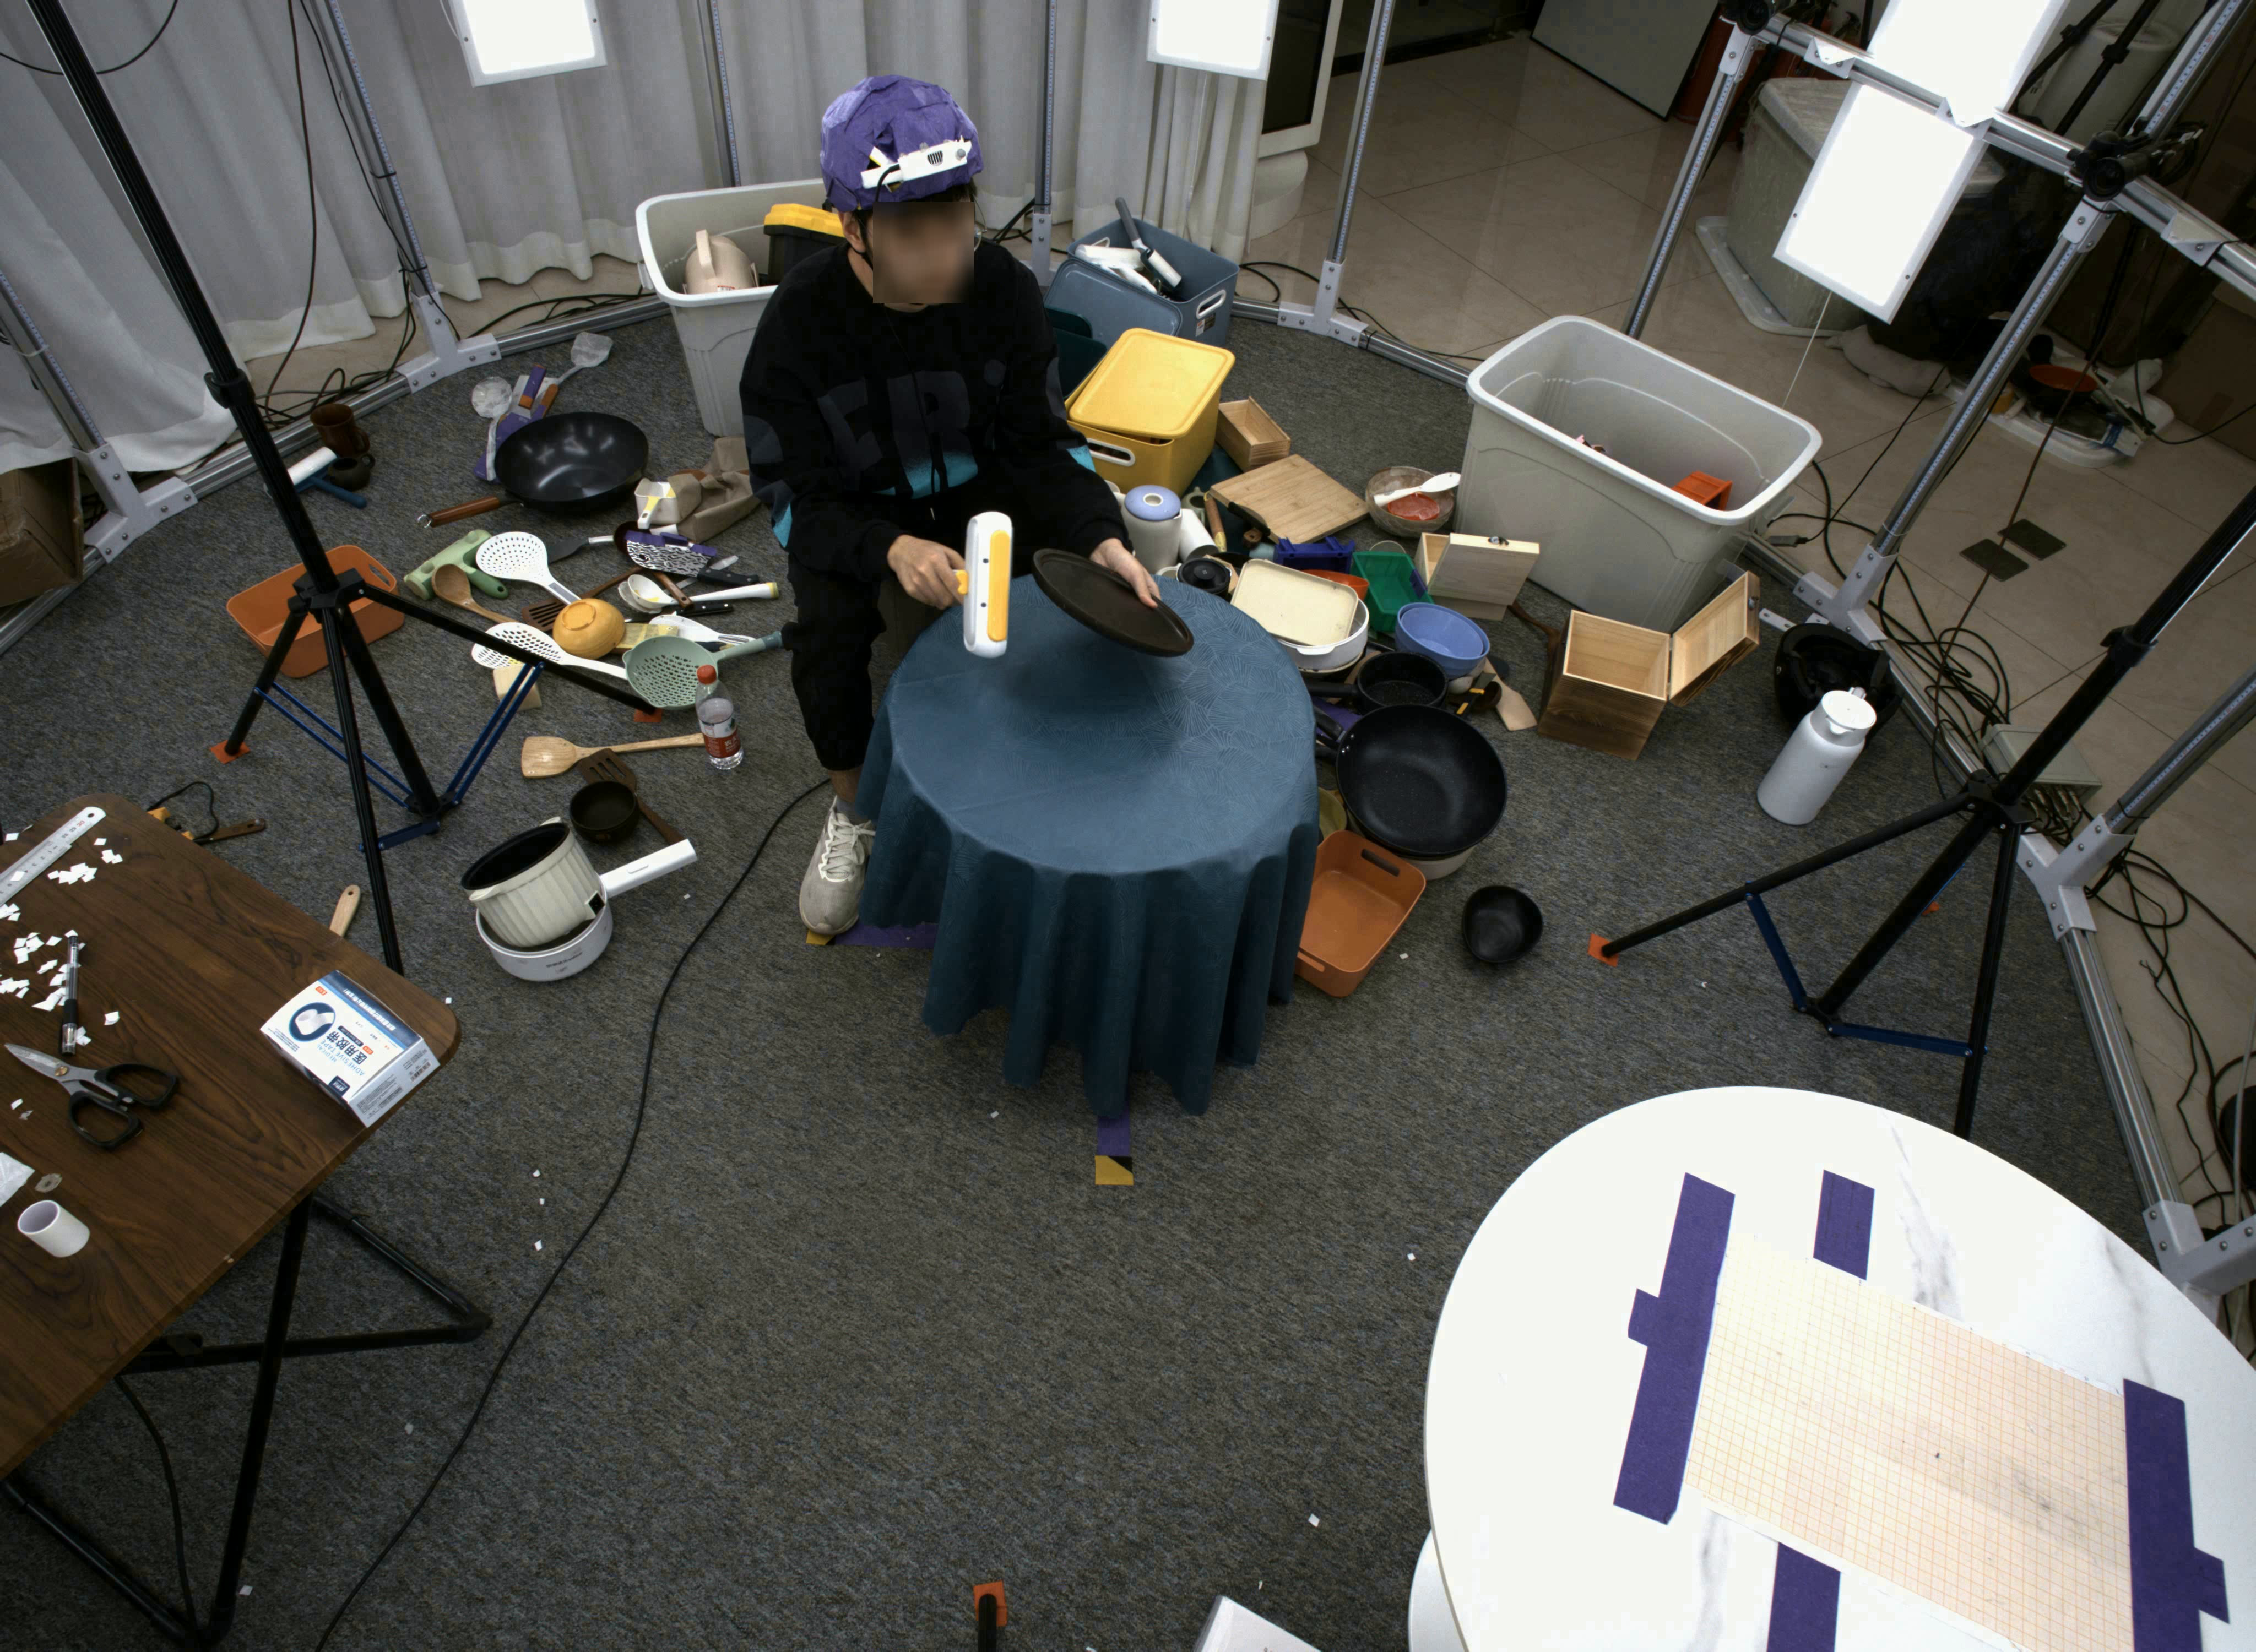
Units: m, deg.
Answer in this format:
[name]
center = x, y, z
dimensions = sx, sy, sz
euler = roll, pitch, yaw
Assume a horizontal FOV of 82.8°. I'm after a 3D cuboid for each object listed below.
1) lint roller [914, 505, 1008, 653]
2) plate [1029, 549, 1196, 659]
[lint roller]
center = -0.227, -0.333, 1.759
dimensions = 0.074, 0.192, 0.194
euler = -8, 10, -32
[plate]
center = -0.024, -0.306, 1.778
dimensions = 0.253, 0.028, 0.260
euler = 24, 25, -12
